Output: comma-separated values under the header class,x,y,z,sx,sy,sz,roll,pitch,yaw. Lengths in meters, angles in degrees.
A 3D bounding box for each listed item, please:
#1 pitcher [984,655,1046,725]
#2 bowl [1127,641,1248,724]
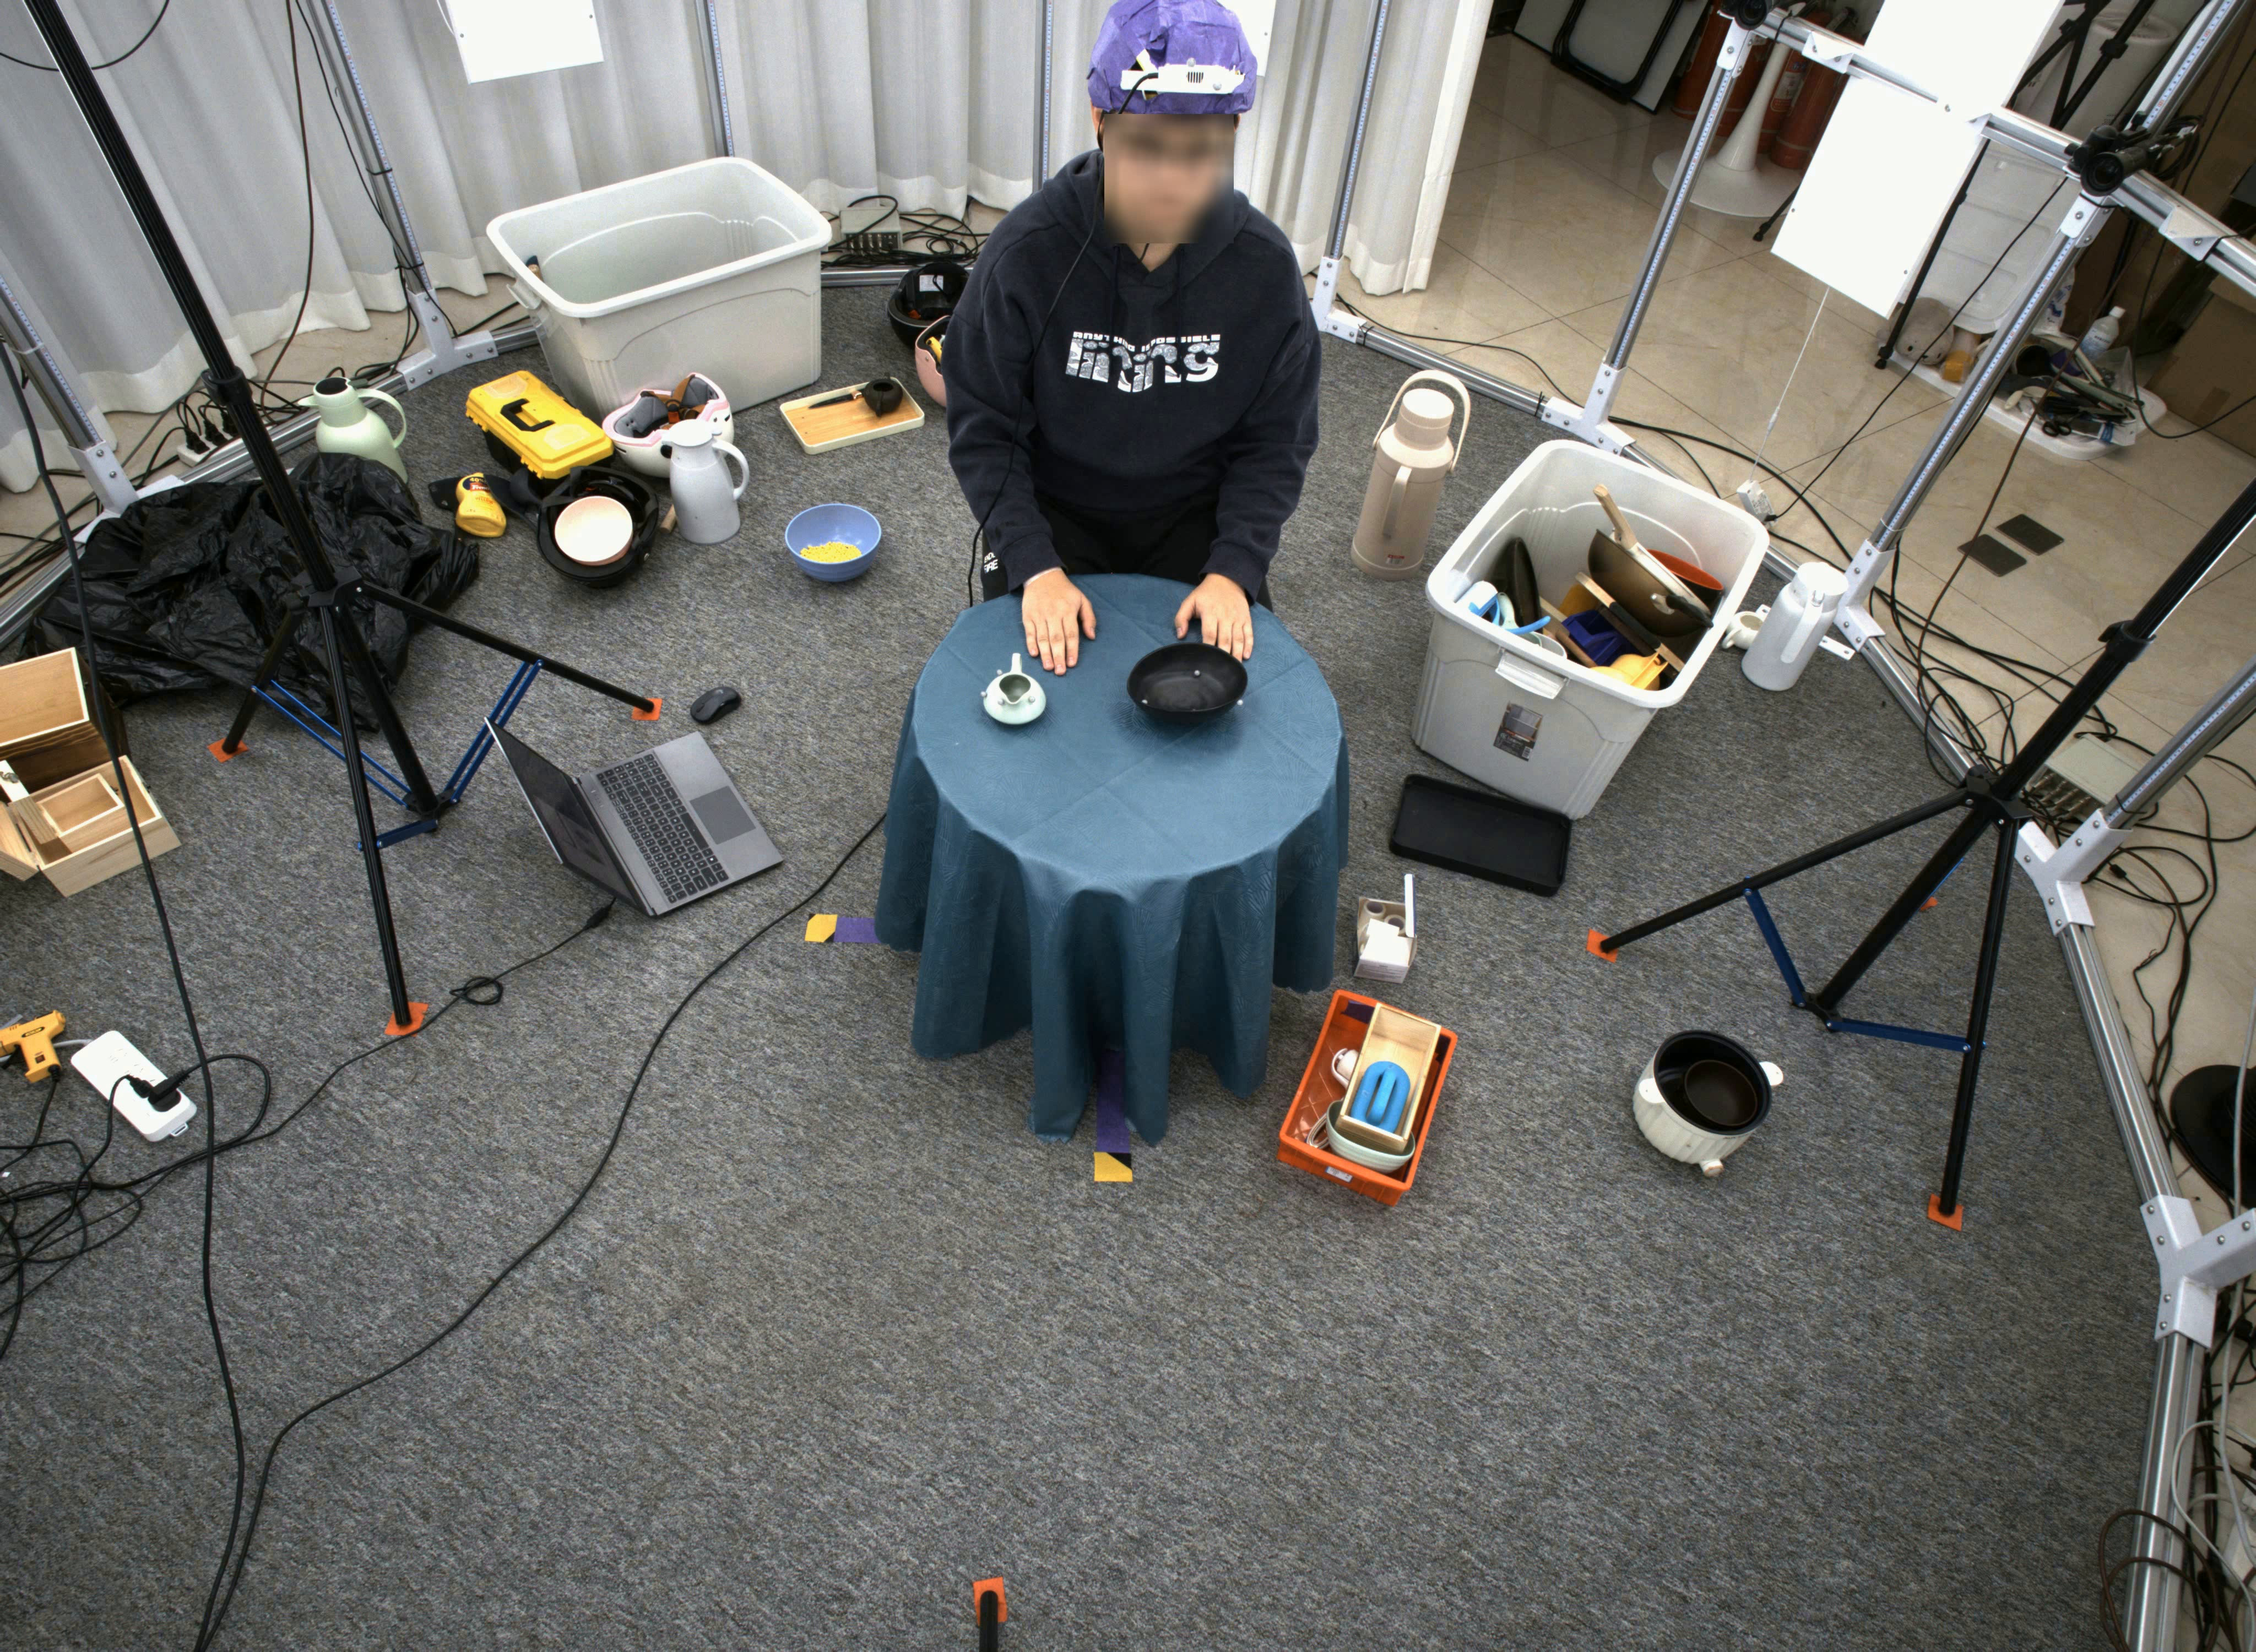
class,x,y,z,sx,sy,sz,roll,pitch,yaw
pitcher,-0.156,-0.187,1.780,0.086,0.059,0.111,2,47,-4
bowl,0.083,-0.187,1.794,0.170,0.065,0.141,-9,50,-11
